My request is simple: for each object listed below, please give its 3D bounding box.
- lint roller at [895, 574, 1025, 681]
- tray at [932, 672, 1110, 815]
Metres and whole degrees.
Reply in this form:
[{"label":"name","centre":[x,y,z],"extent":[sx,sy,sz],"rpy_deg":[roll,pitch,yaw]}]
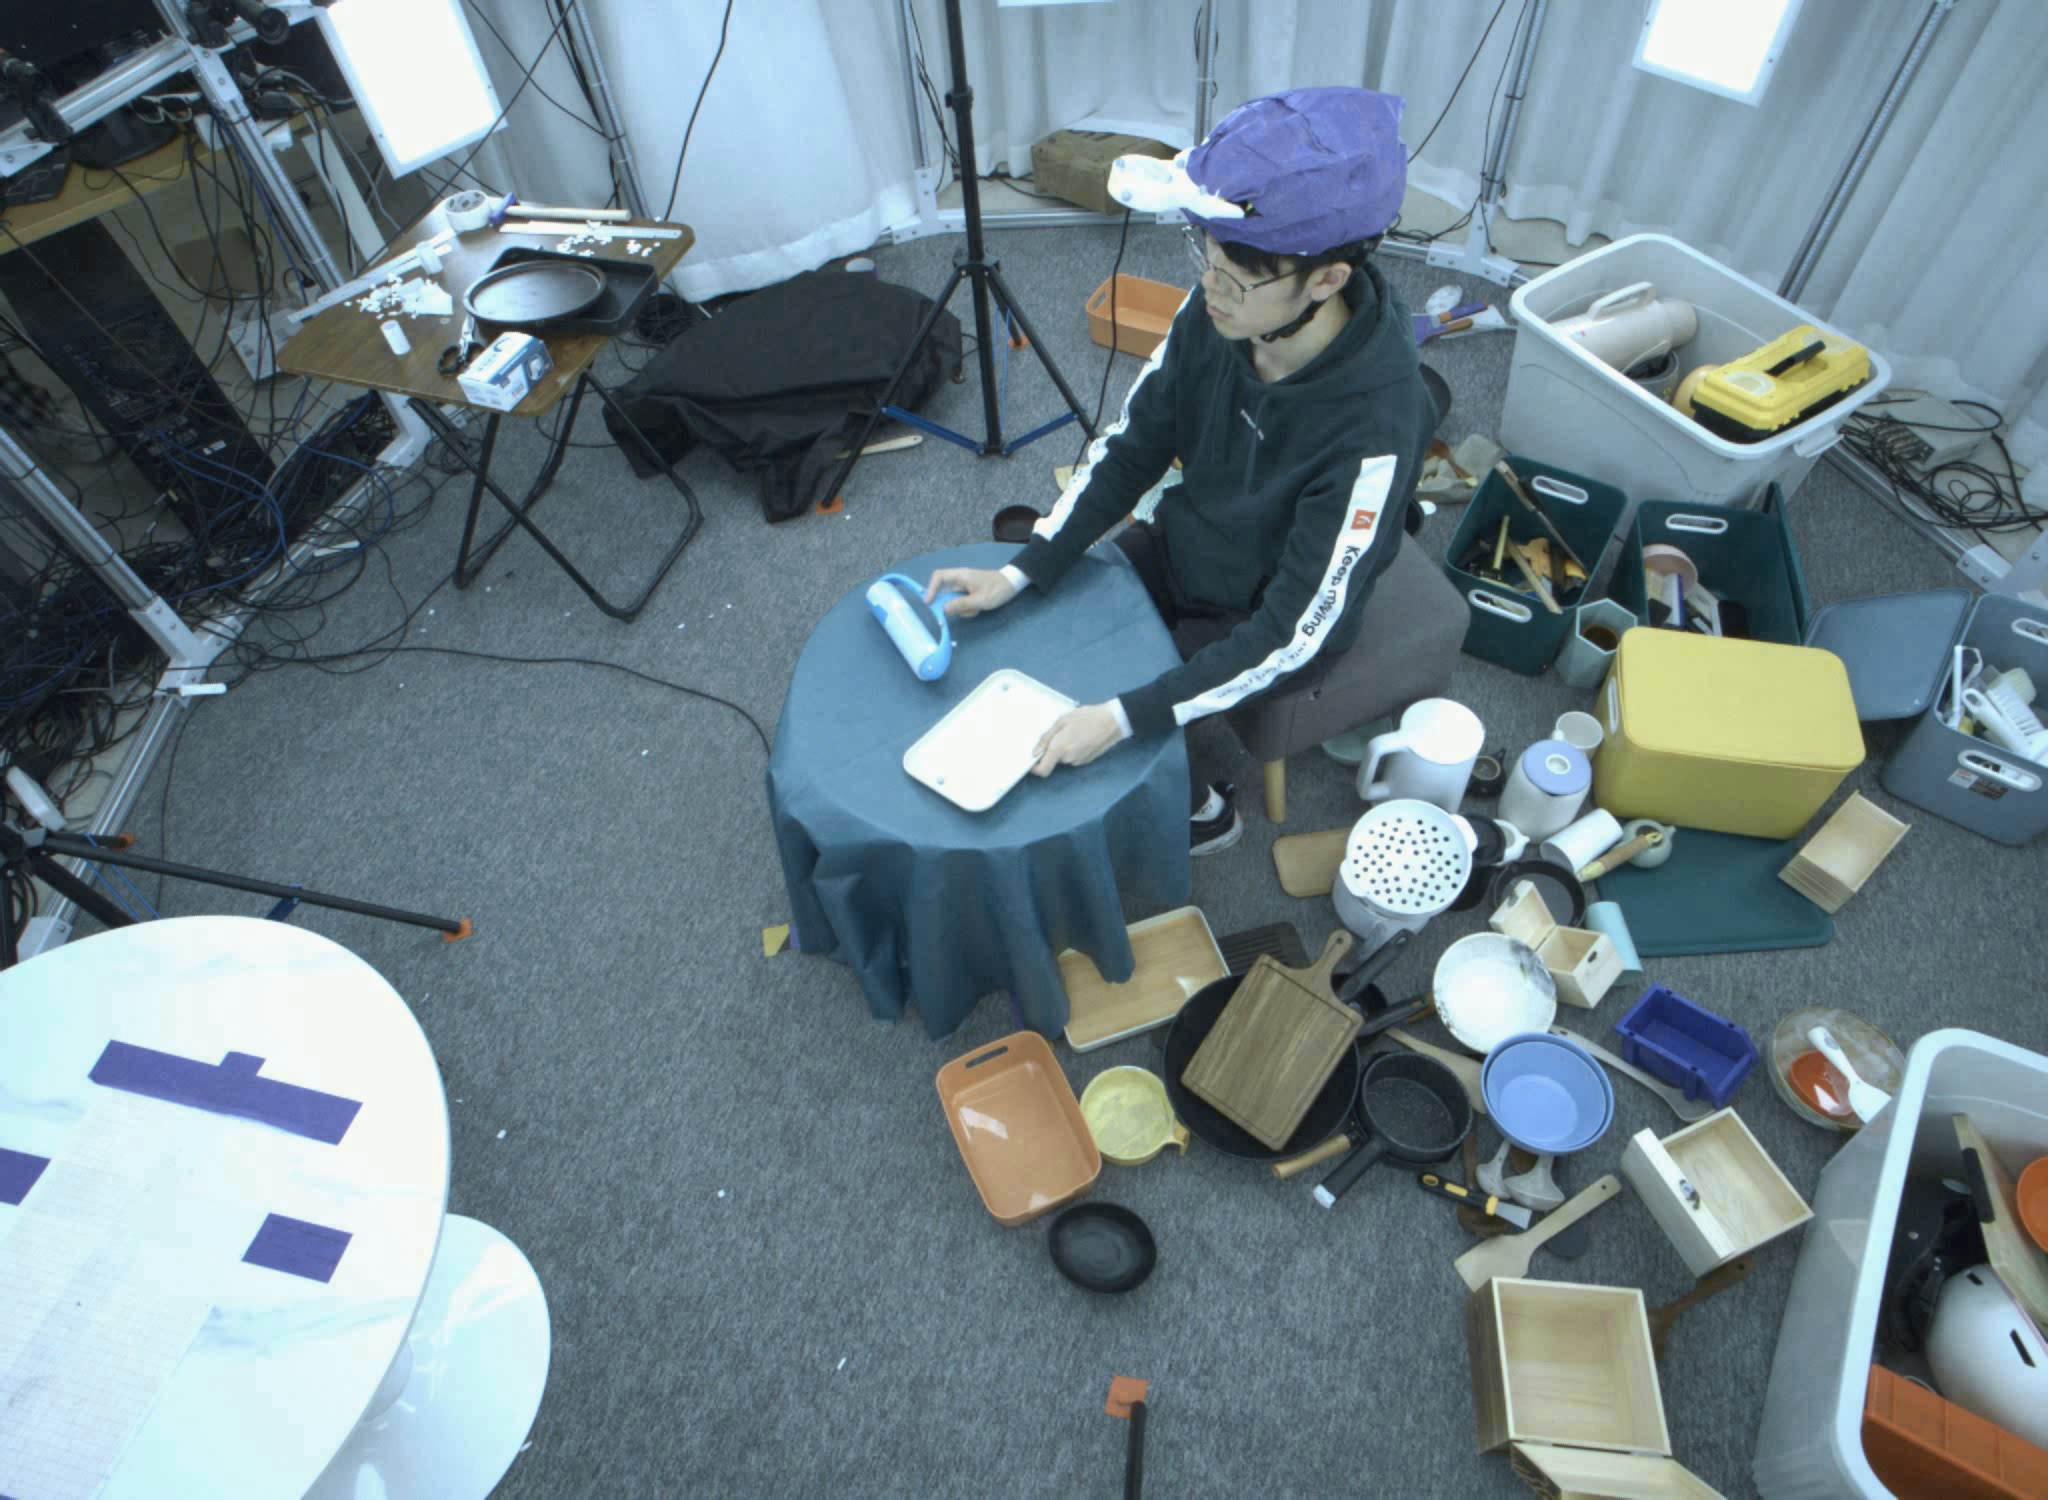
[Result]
[{"label":"lint roller","centre":[-0.085,-0.210,1.889],"extent":[0.181,0.069,0.224],"rpy_deg":[-27,50,-16]},{"label":"tray","centre":[-0.003,-0.011,1.769],"extent":[0.167,0.018,0.241],"rpy_deg":[31,61,31]}]
